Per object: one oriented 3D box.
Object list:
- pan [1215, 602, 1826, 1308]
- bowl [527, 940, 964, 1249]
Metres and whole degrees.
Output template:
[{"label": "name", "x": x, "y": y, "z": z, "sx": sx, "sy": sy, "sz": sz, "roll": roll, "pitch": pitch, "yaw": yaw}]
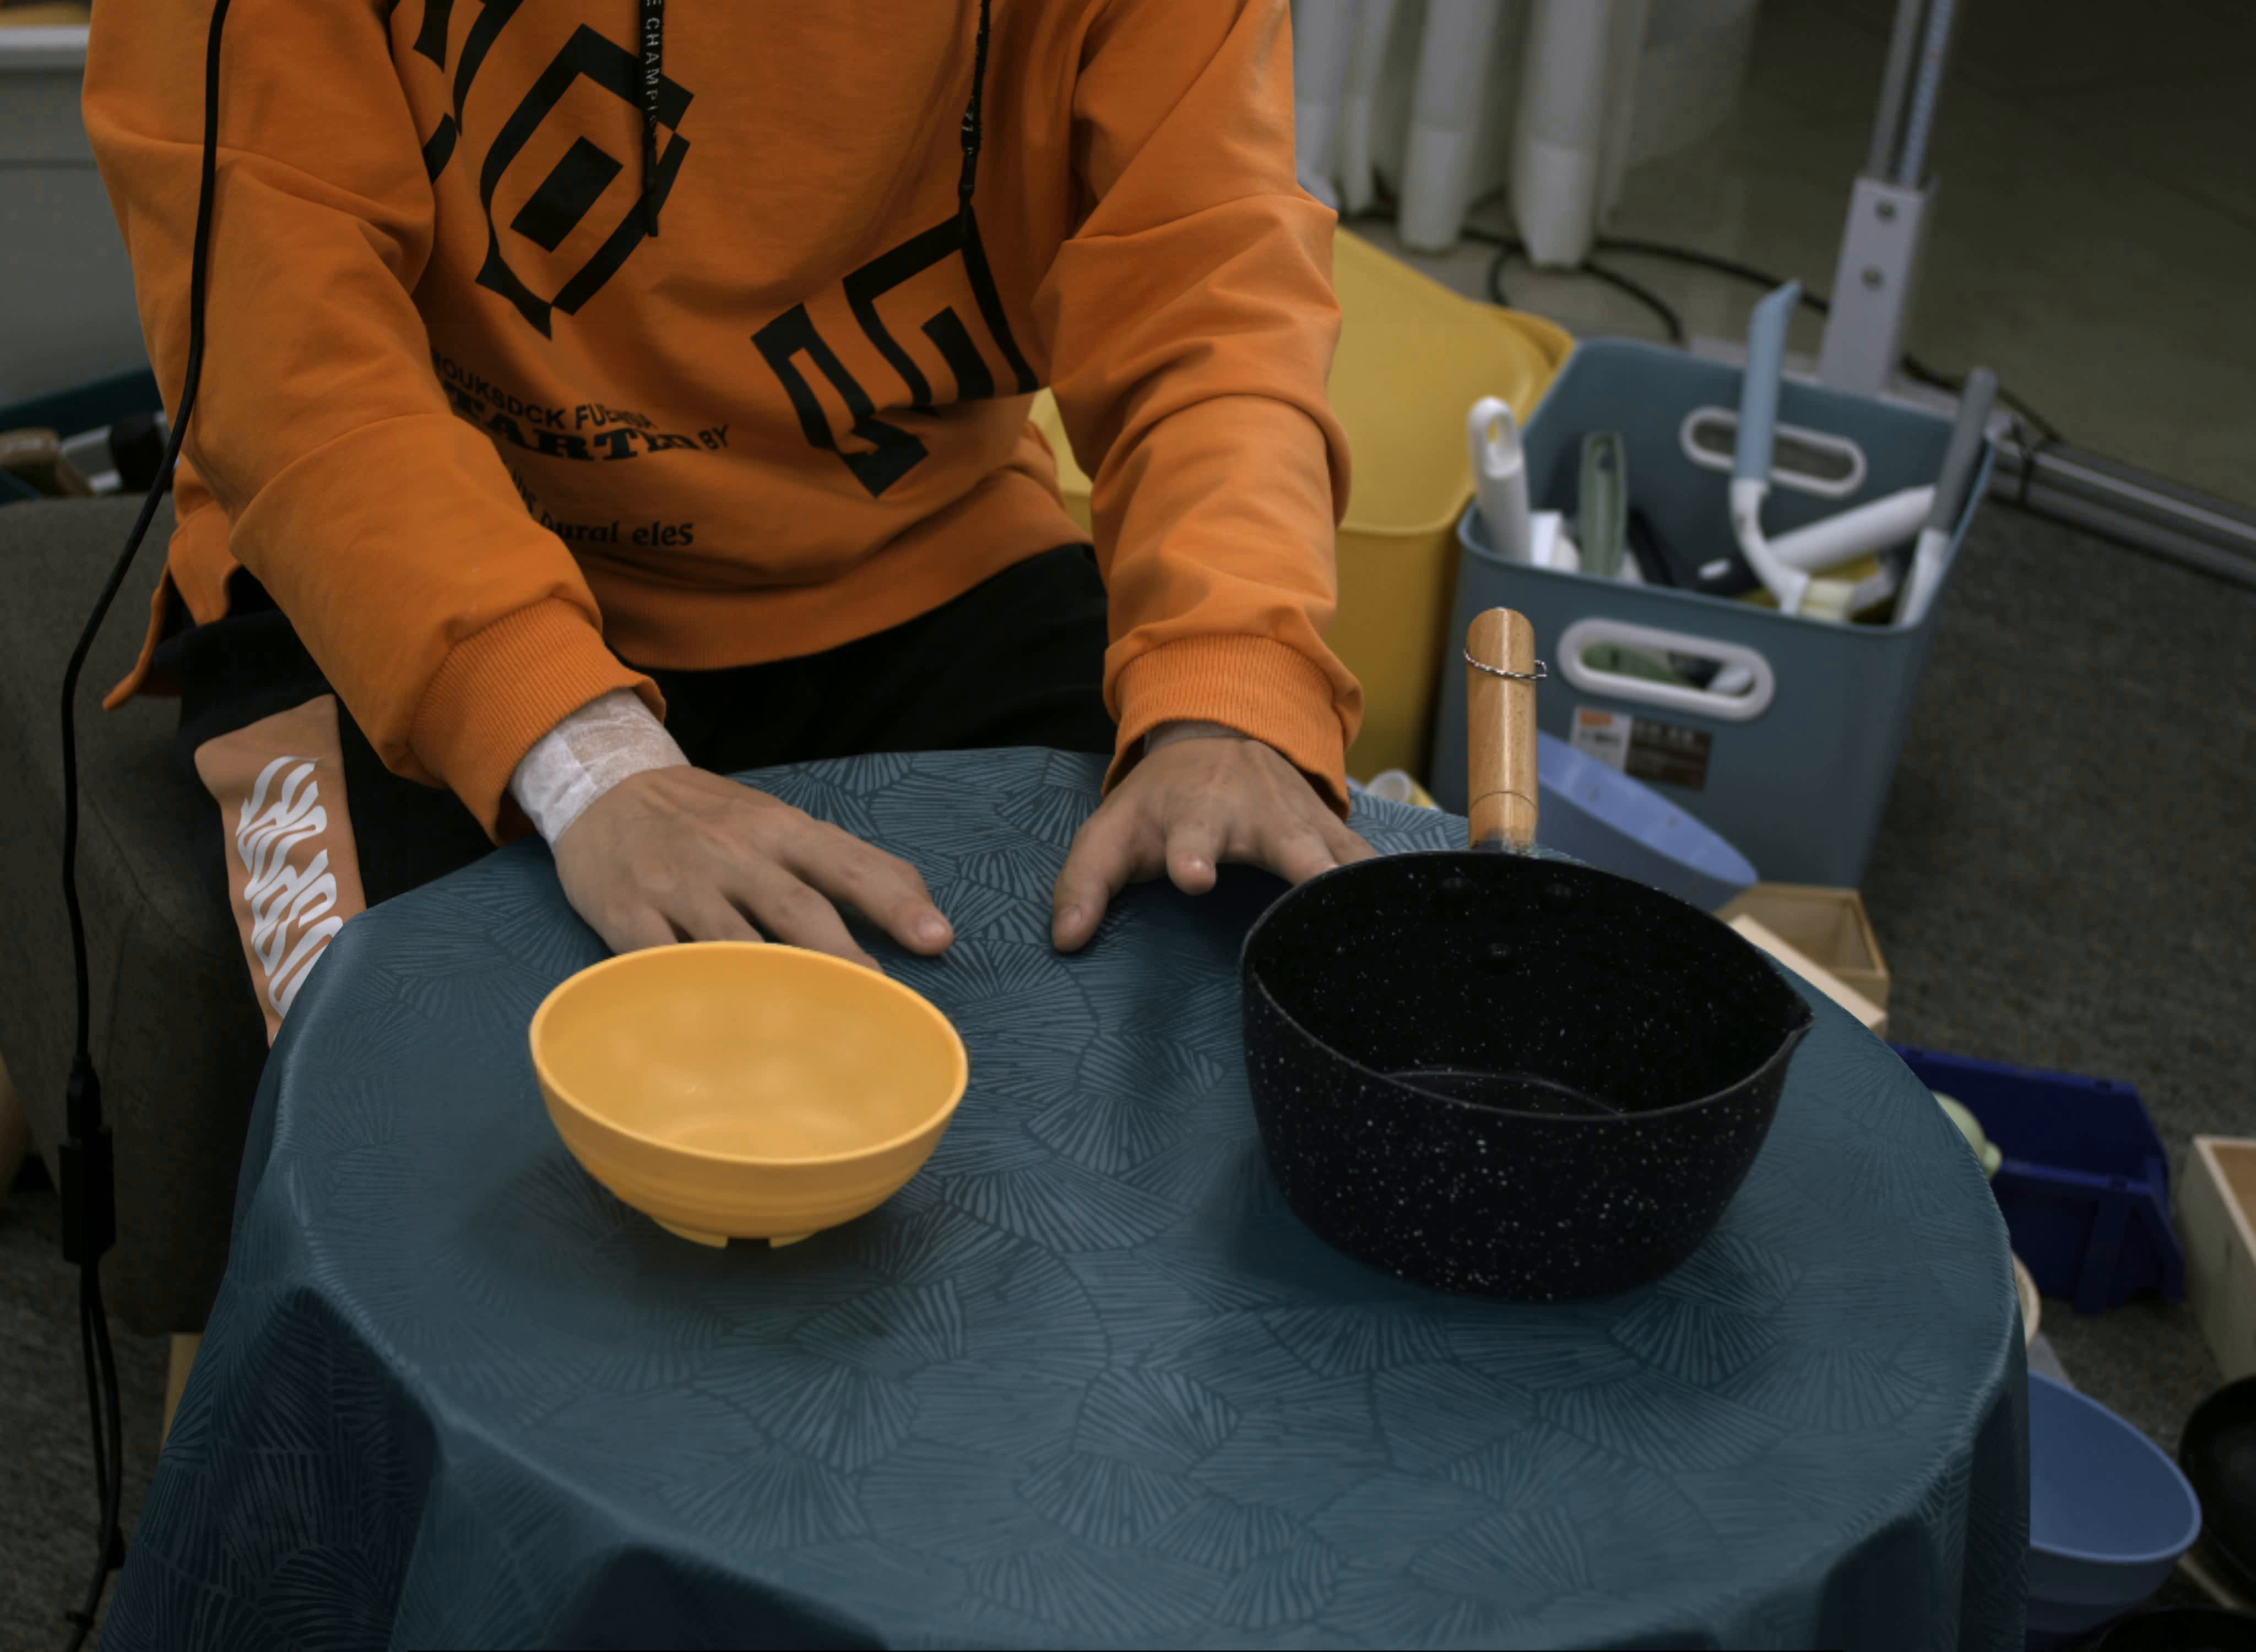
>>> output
[{"label": "pan", "x": 0.131, "y": 0.041, "z": 1.875, "sx": 0.207, "sy": 0.108, "sz": 0.345, "roll": 4, "pitch": 28, "yaw": -1}, {"label": "bowl", "x": -0.129, "y": 0.098, "z": 1.760, "sx": 0.145, "sy": 0.060, "sz": 0.146, "roll": 6, "pitch": 26, "yaw": -3}]
